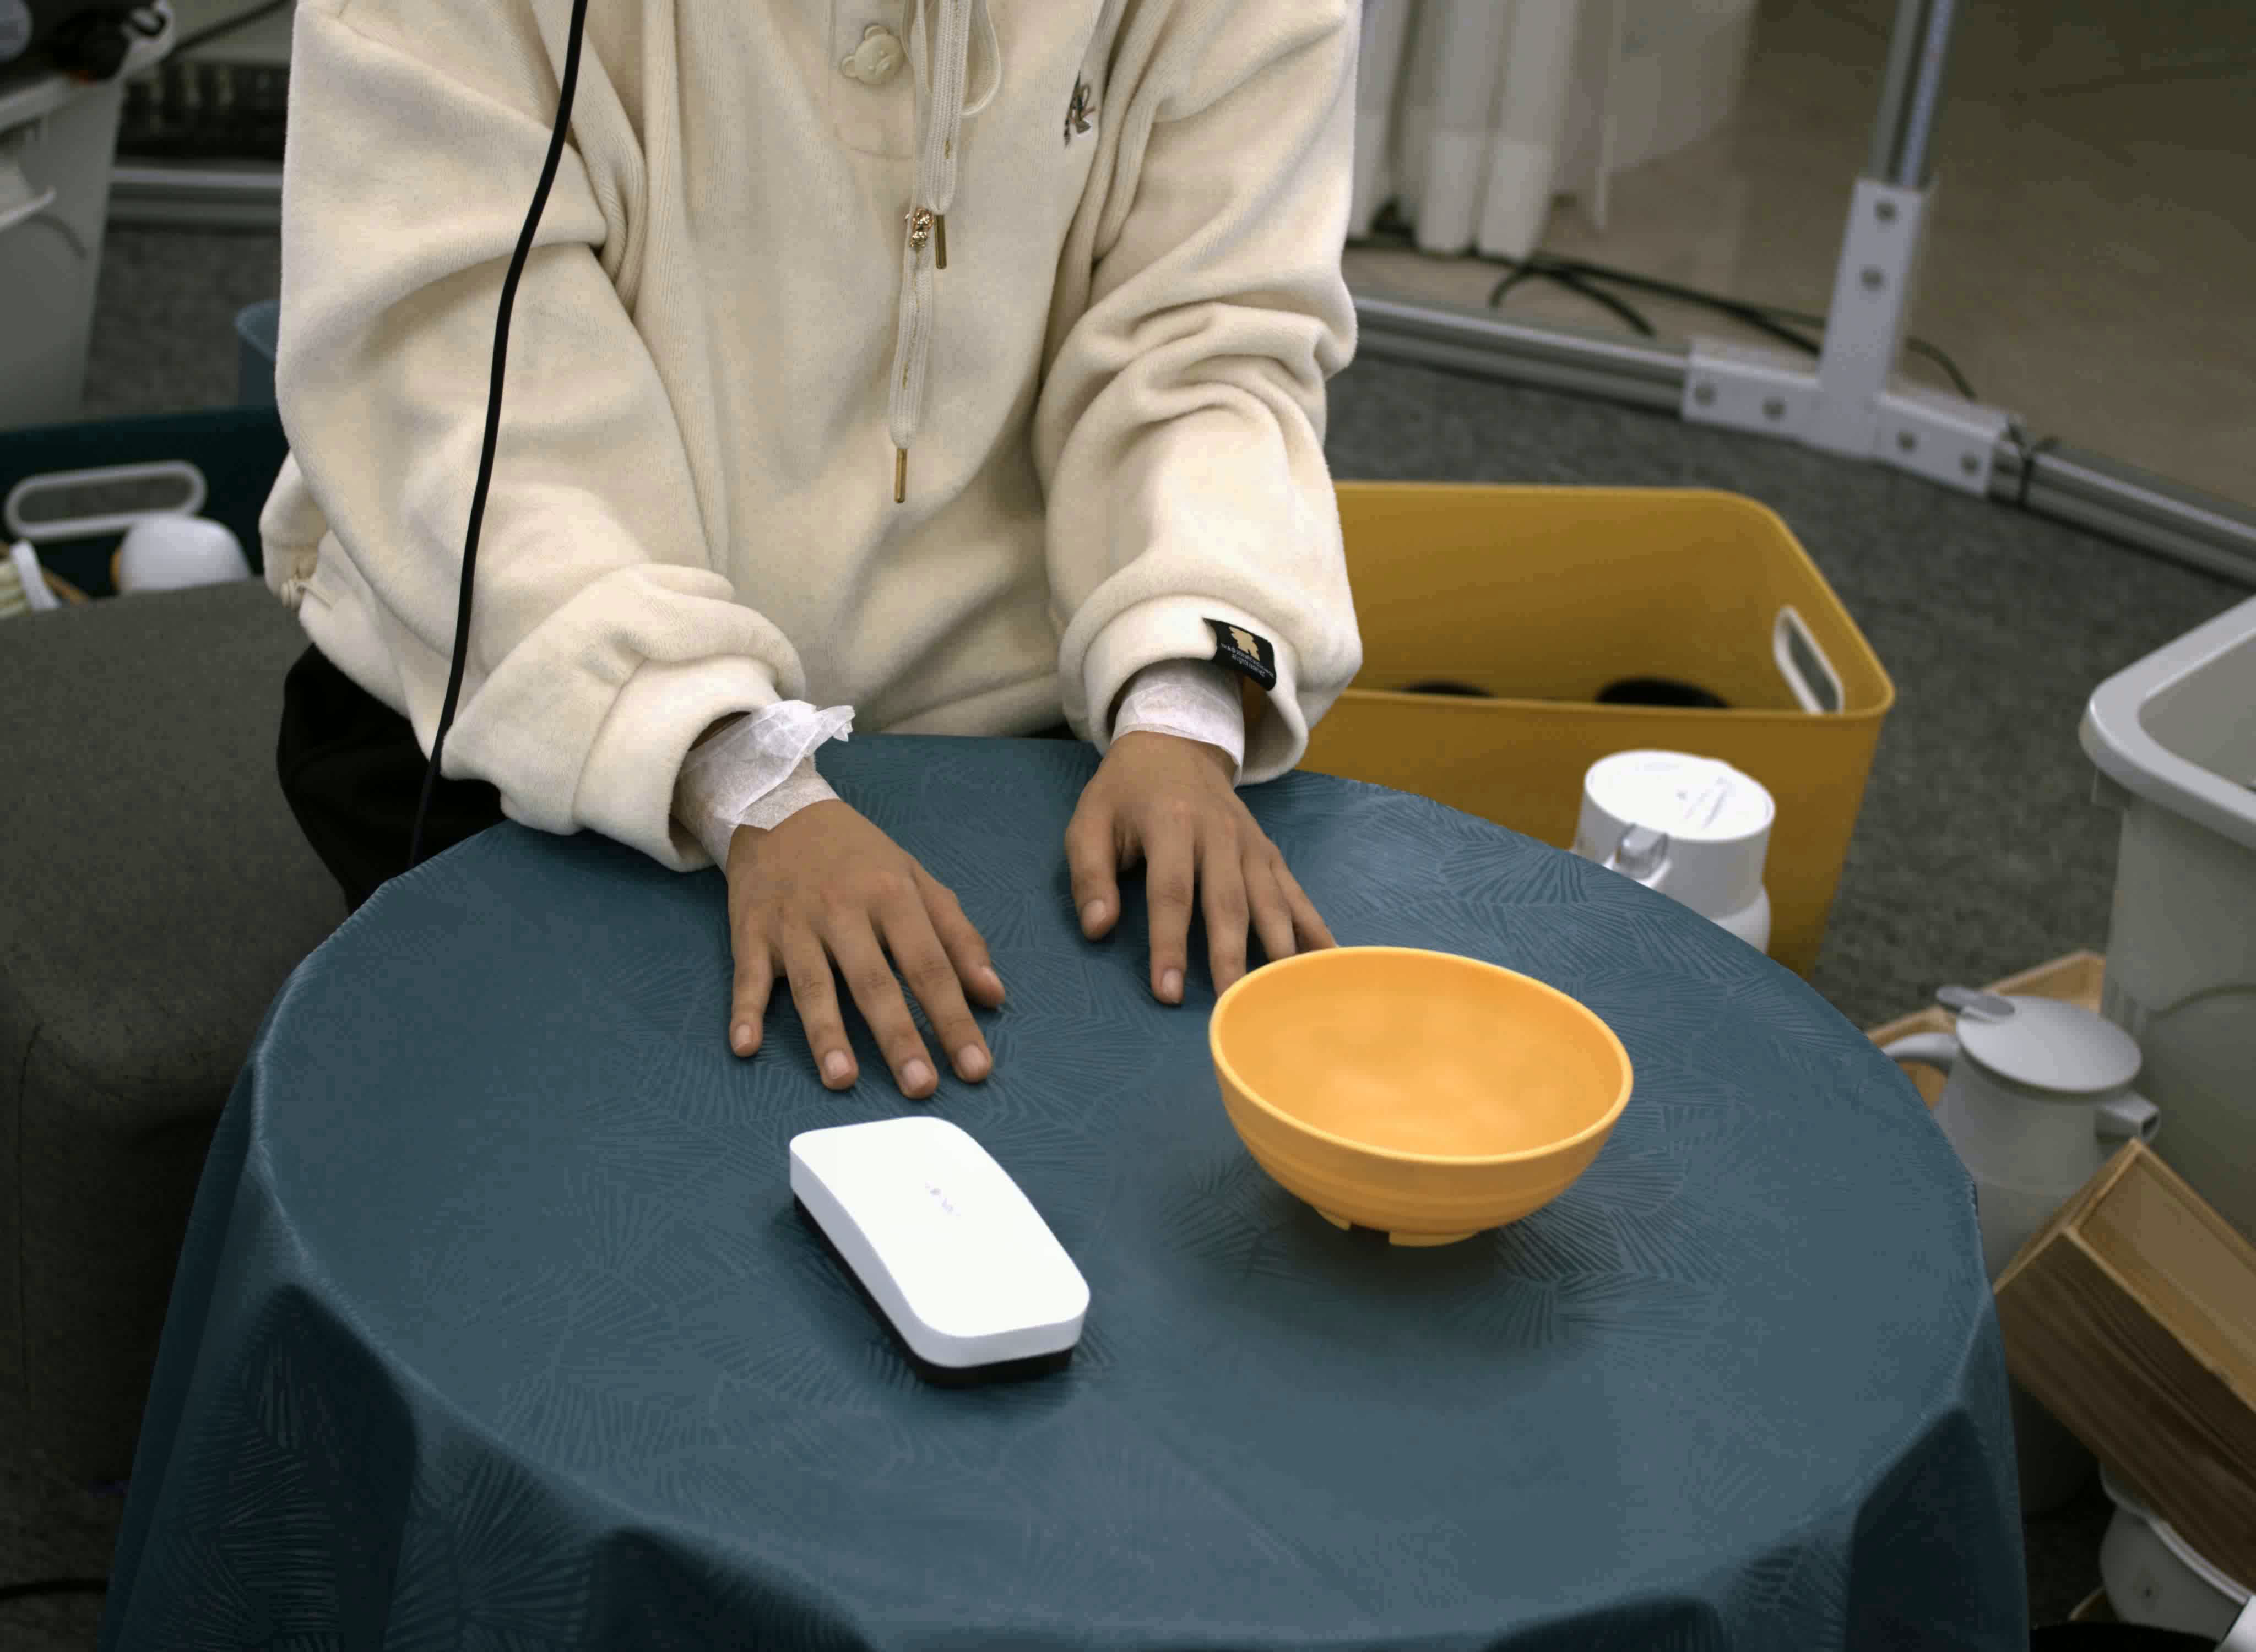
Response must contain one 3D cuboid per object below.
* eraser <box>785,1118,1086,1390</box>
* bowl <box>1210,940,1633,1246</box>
[{"bbox_3d":[-0.063,0.135,1.732,0.063,0.034,0.132,-5,30,-25],"label":"eraser"},{"bbox_3d":[0.096,0.101,1.806,0.145,0.060,0.146,5,29,-3],"label":"bowl"}]
